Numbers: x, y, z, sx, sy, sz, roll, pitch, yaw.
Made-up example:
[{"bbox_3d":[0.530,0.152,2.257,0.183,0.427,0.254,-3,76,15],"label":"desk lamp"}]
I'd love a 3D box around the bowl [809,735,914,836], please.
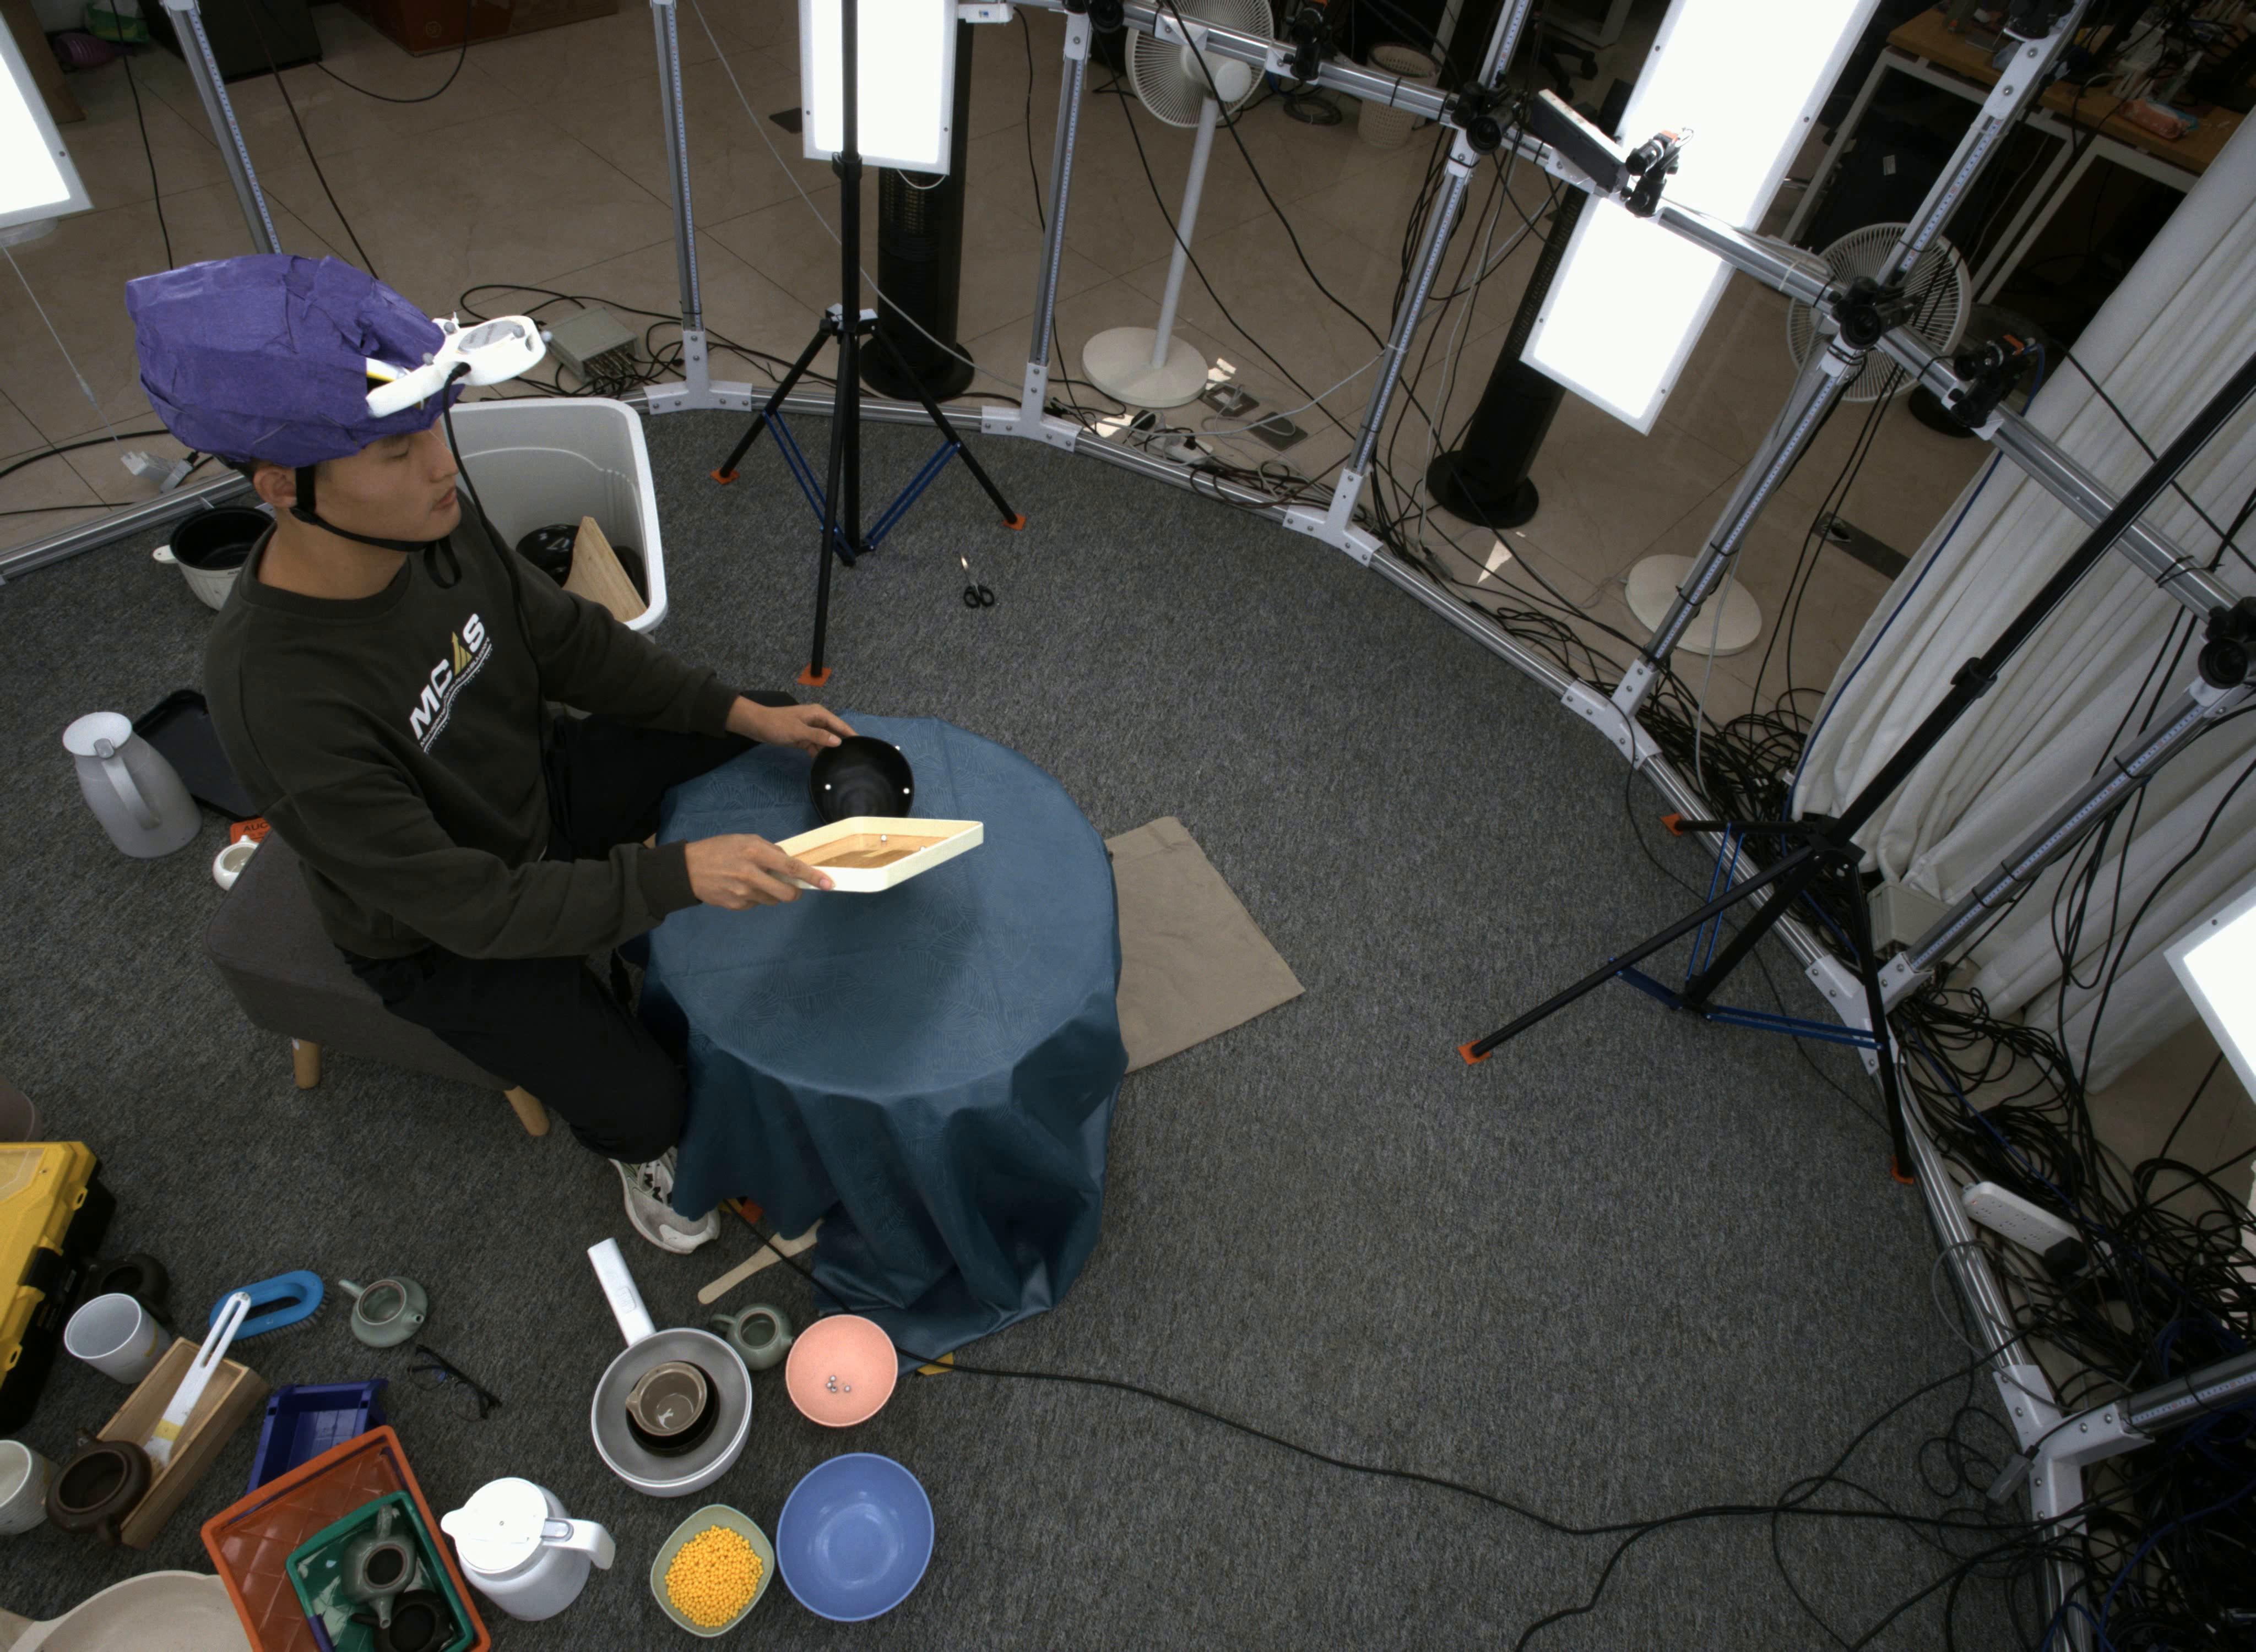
[{"bbox_3d":[-0.354,-0.037,1.737,0.137,0.068,0.167,-8,63,-15],"label":"bowl"}]

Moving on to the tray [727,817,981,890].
[{"bbox_3d":[-0.314,0.027,1.538,0.187,0.028,0.301,2,10,17],"label":"tray"}]
